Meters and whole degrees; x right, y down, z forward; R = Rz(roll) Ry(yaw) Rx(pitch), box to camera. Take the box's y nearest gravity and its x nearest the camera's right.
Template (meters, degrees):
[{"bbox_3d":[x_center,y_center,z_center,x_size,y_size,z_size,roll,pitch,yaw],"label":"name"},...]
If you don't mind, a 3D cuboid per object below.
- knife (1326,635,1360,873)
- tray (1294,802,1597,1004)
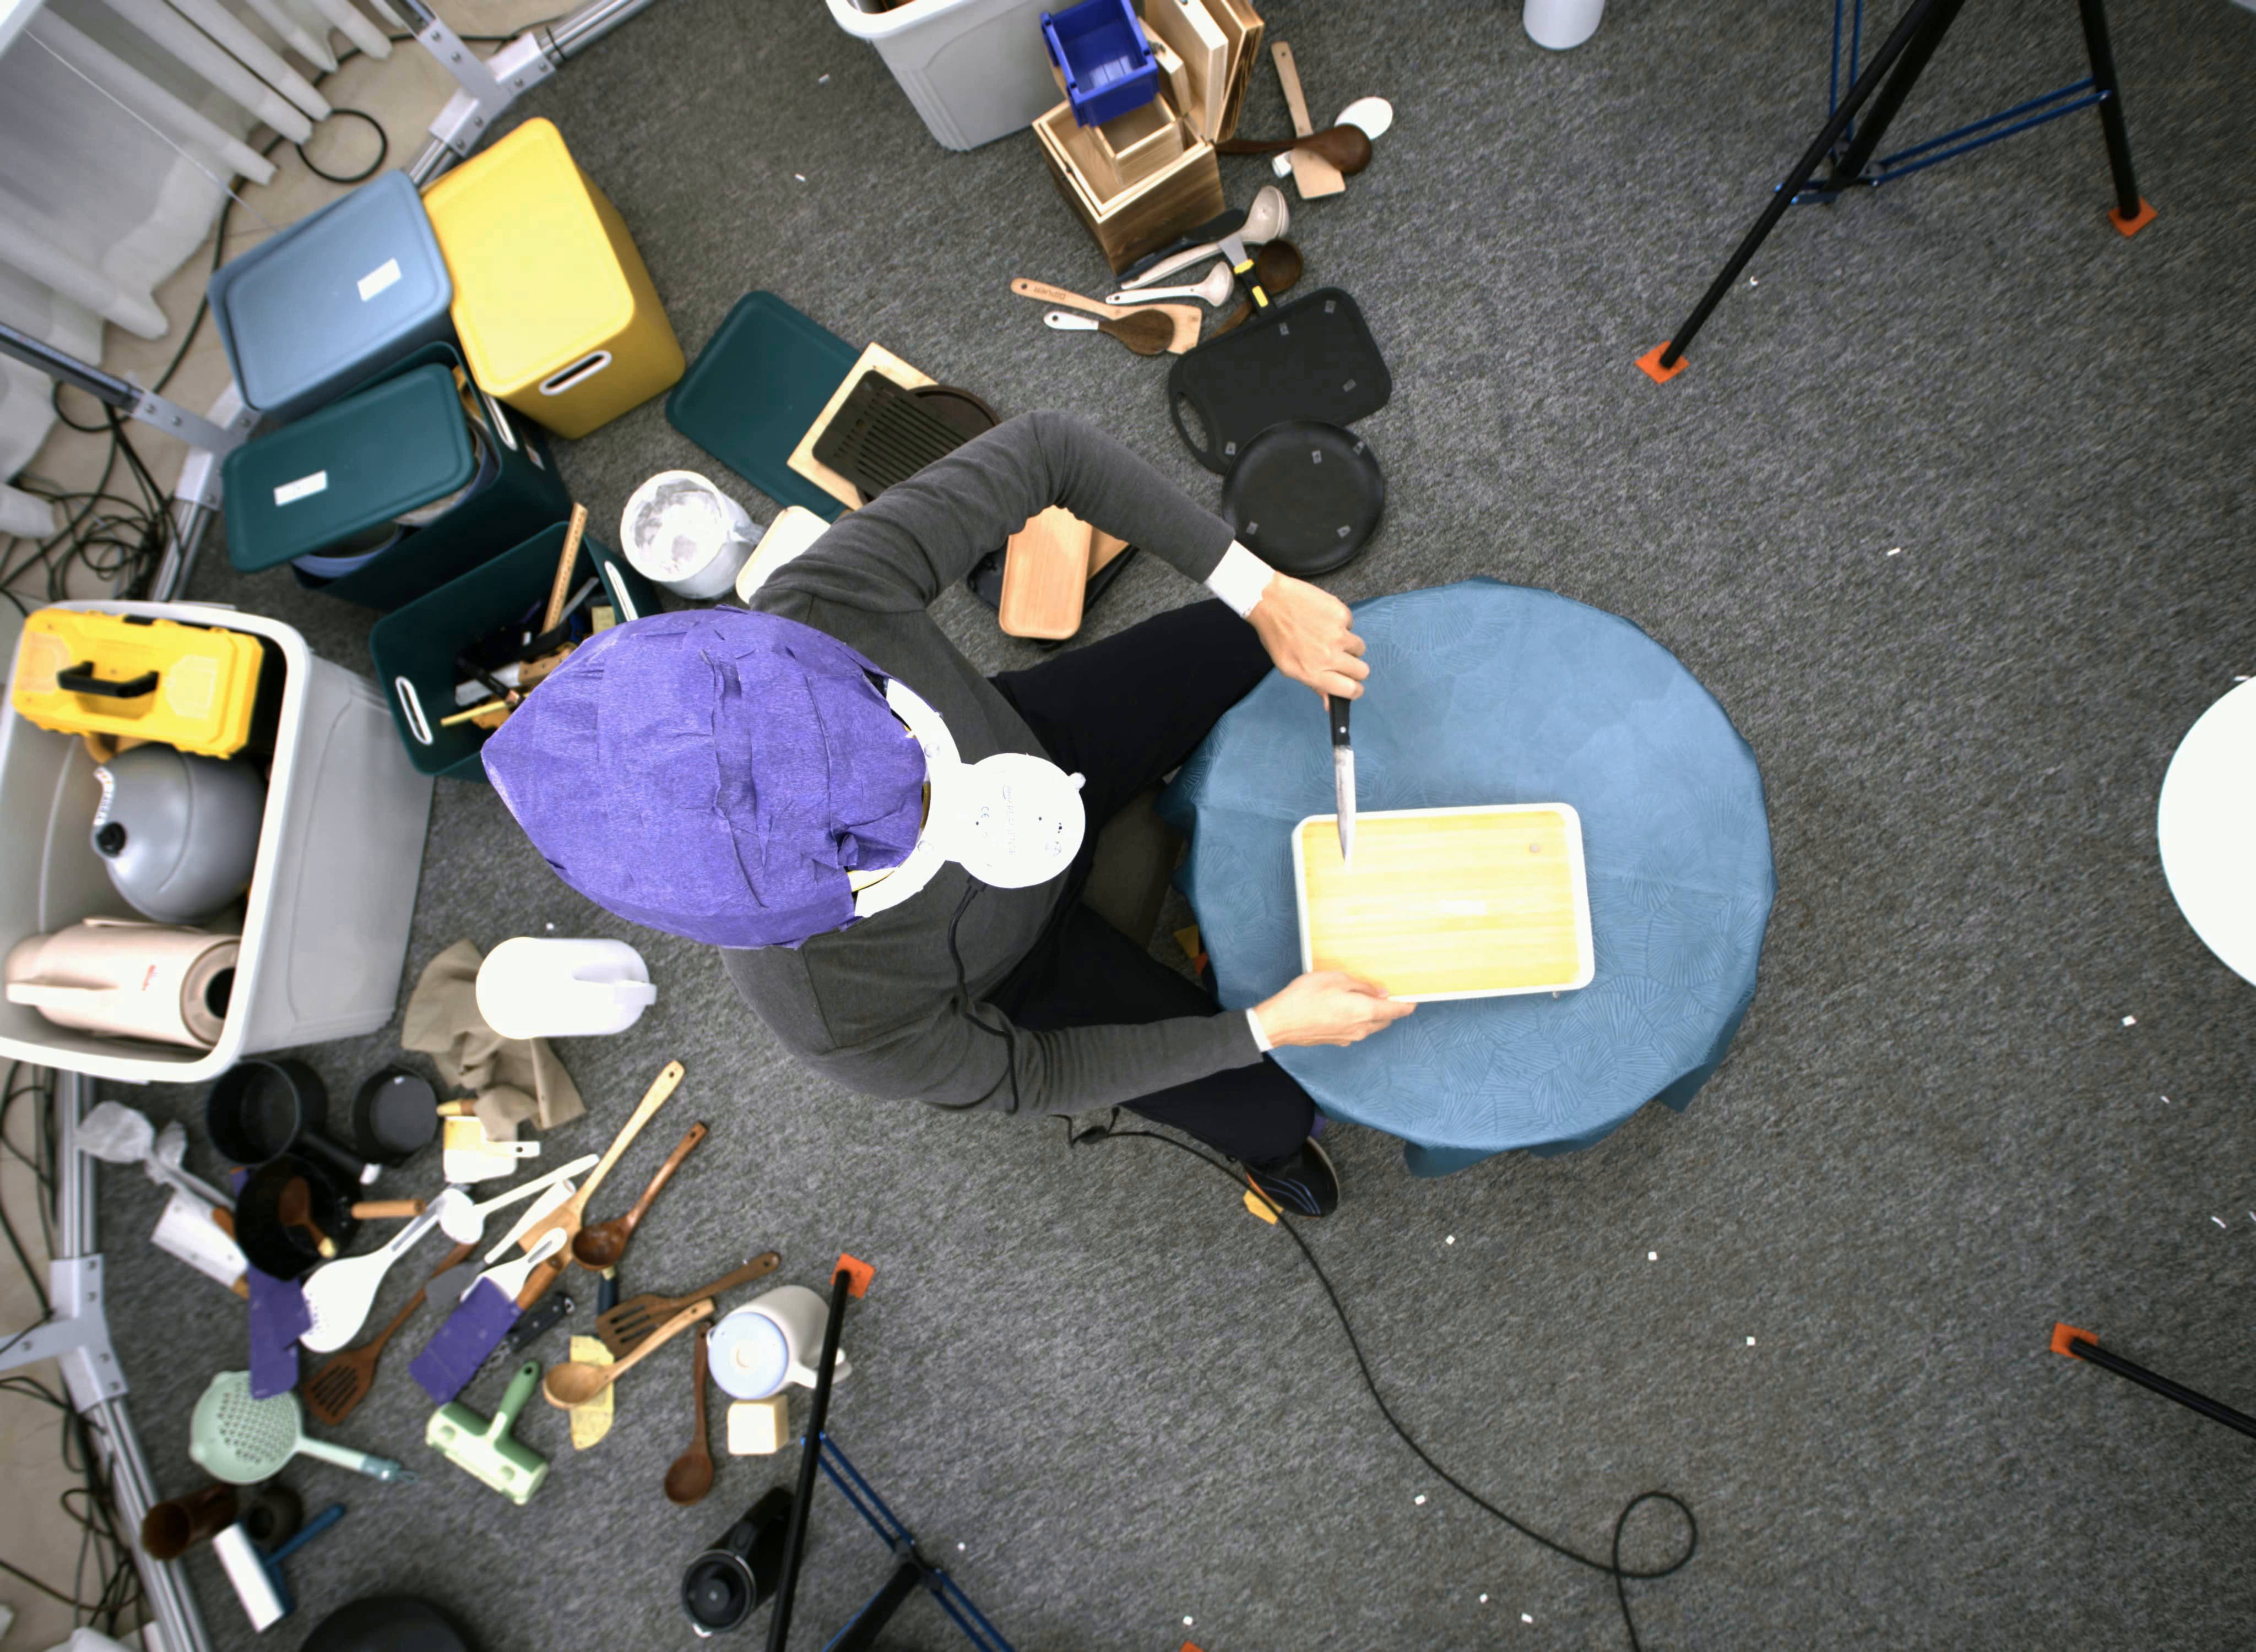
[{"bbox_3d":[0.207,-0.072,1.329,0.024,0.016,0.236,0,81,-17],"label":"knife"},{"bbox_3d":[0.321,0.075,1.394,0.300,0.027,0.190,-3,85,-7],"label":"tray"}]
